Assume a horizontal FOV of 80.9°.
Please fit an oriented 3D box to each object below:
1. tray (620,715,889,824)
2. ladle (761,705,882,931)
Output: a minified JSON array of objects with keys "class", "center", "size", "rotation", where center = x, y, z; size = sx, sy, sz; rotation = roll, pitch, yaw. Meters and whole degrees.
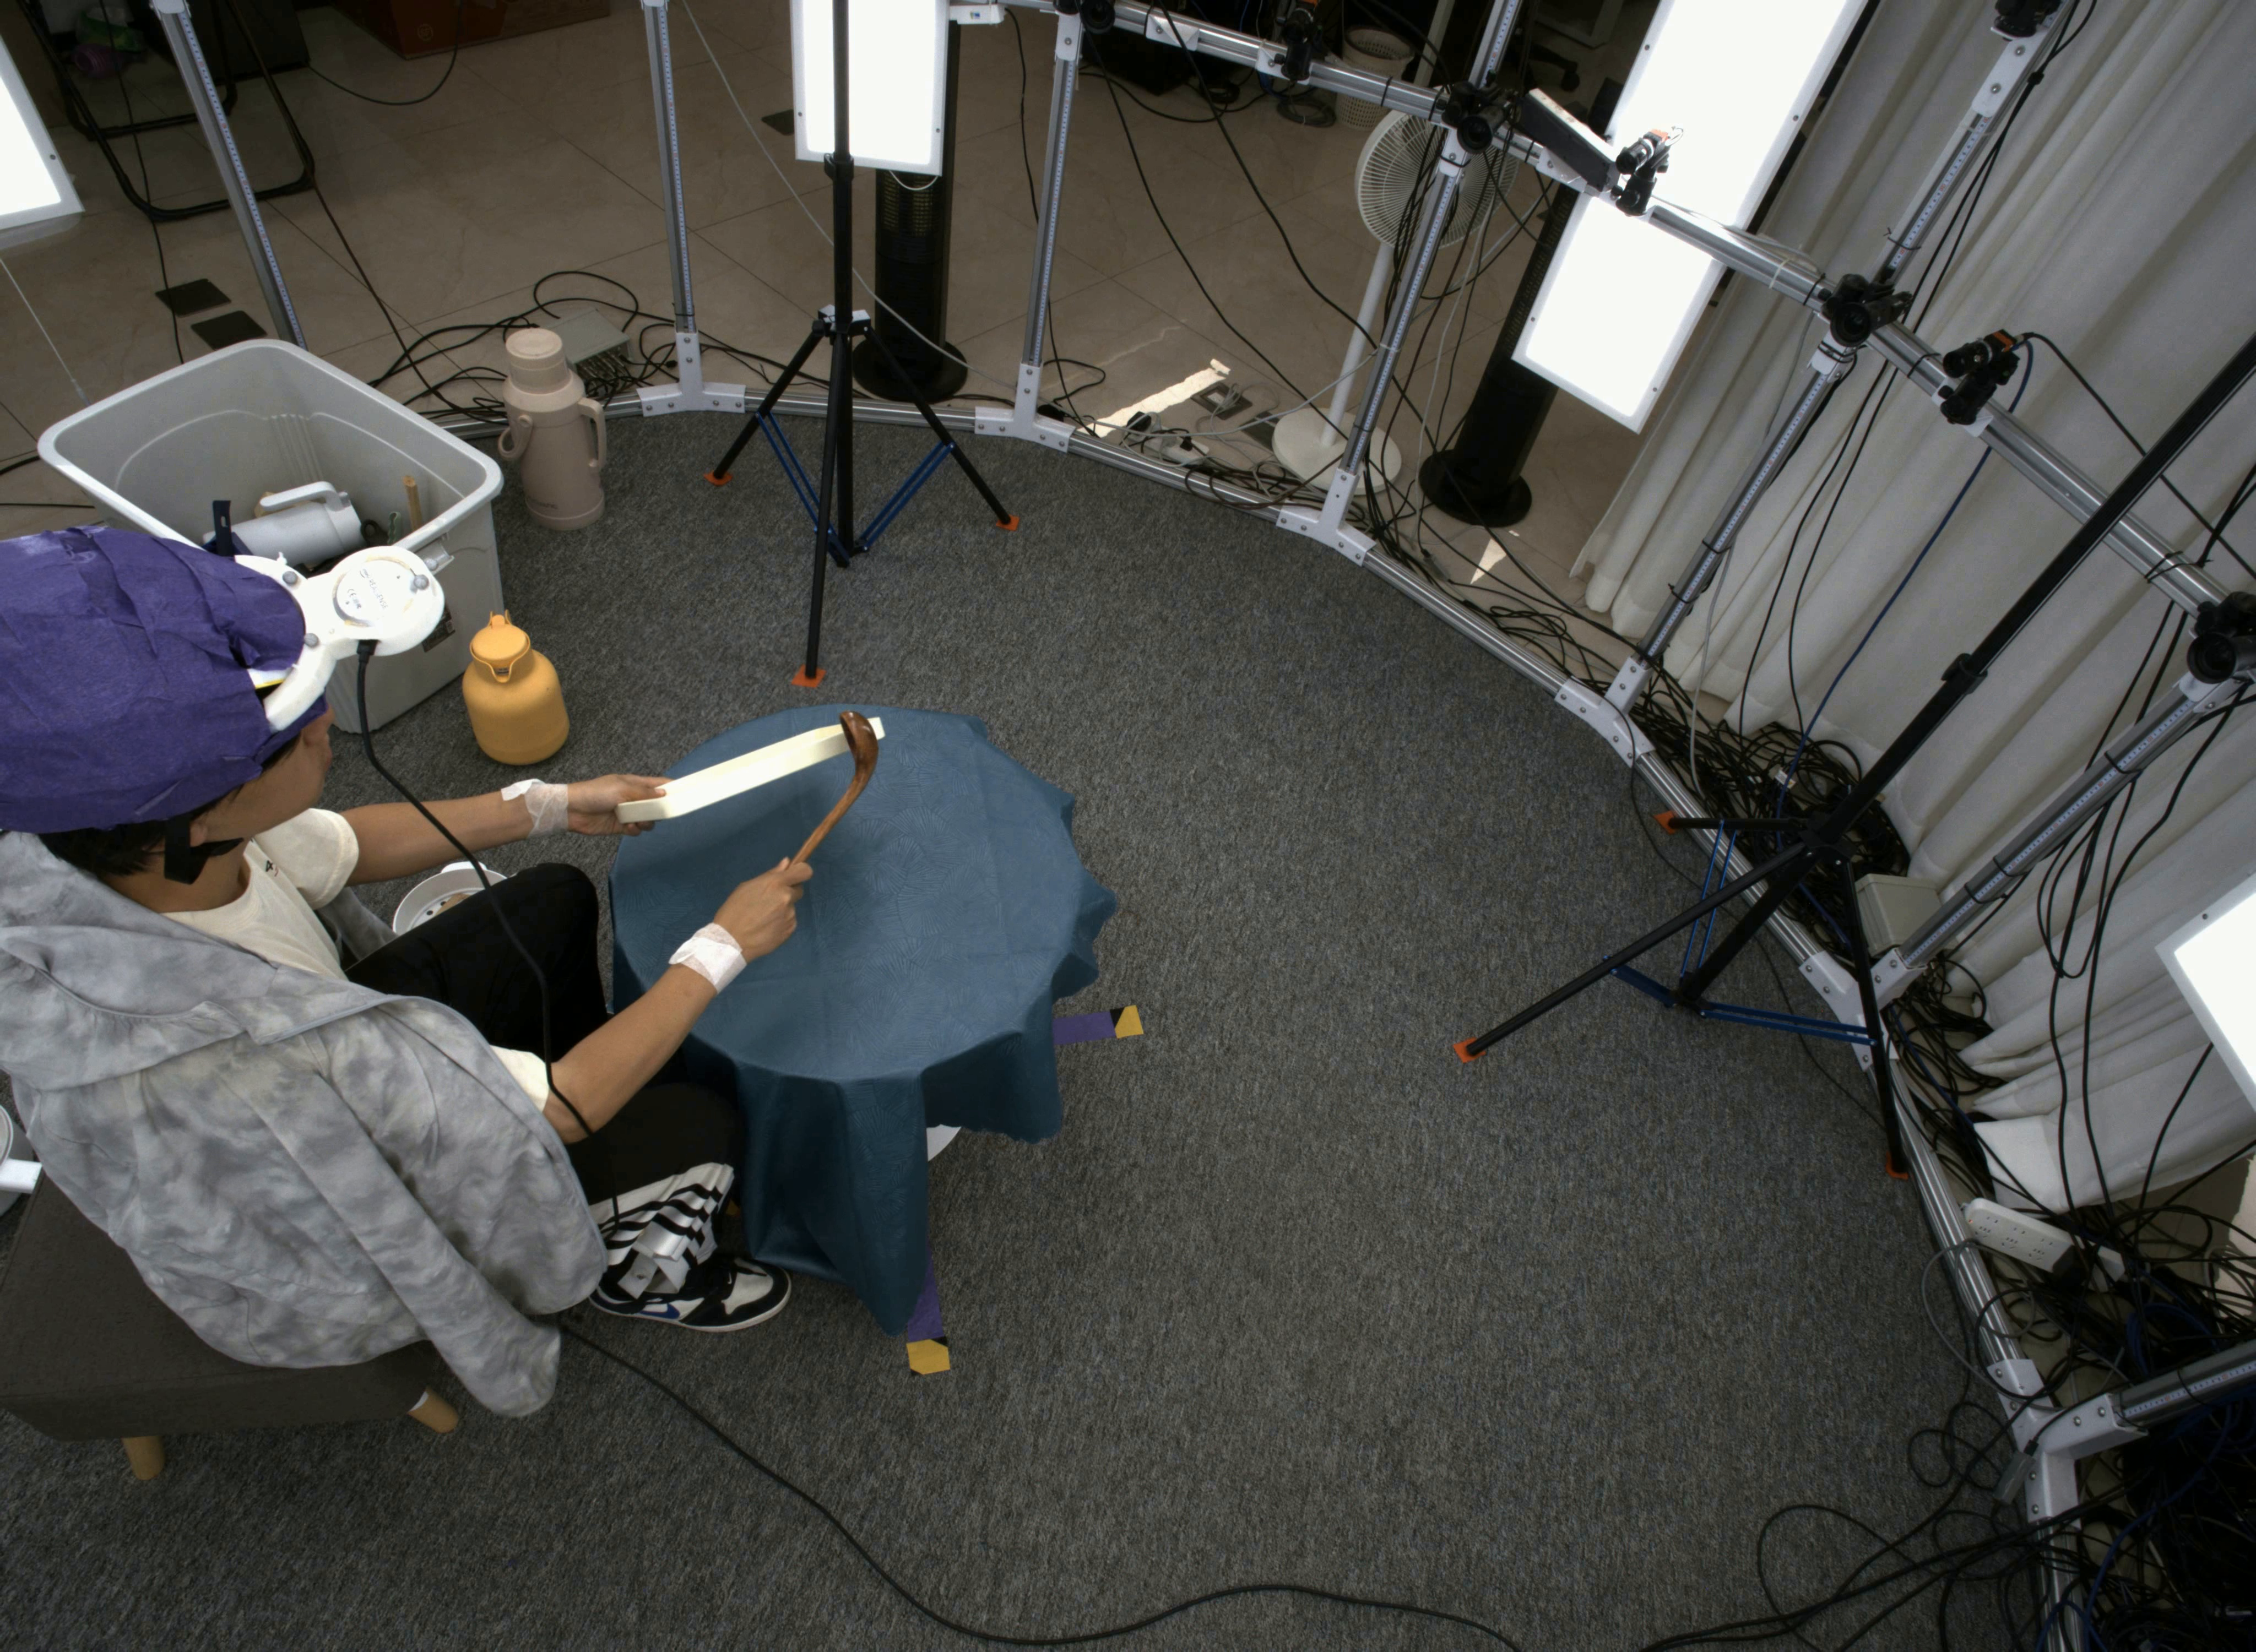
[{"class":"tray","center":[-0.456,-0.071,1.579],"size":[0.302,0.186,0.028],"rotation":[-26,104,-37]},{"class":"ladle","center":[-0.370,-0.015,1.500],"size":[0.076,0.082,0.274],"rotation":[33,76,-1]}]
